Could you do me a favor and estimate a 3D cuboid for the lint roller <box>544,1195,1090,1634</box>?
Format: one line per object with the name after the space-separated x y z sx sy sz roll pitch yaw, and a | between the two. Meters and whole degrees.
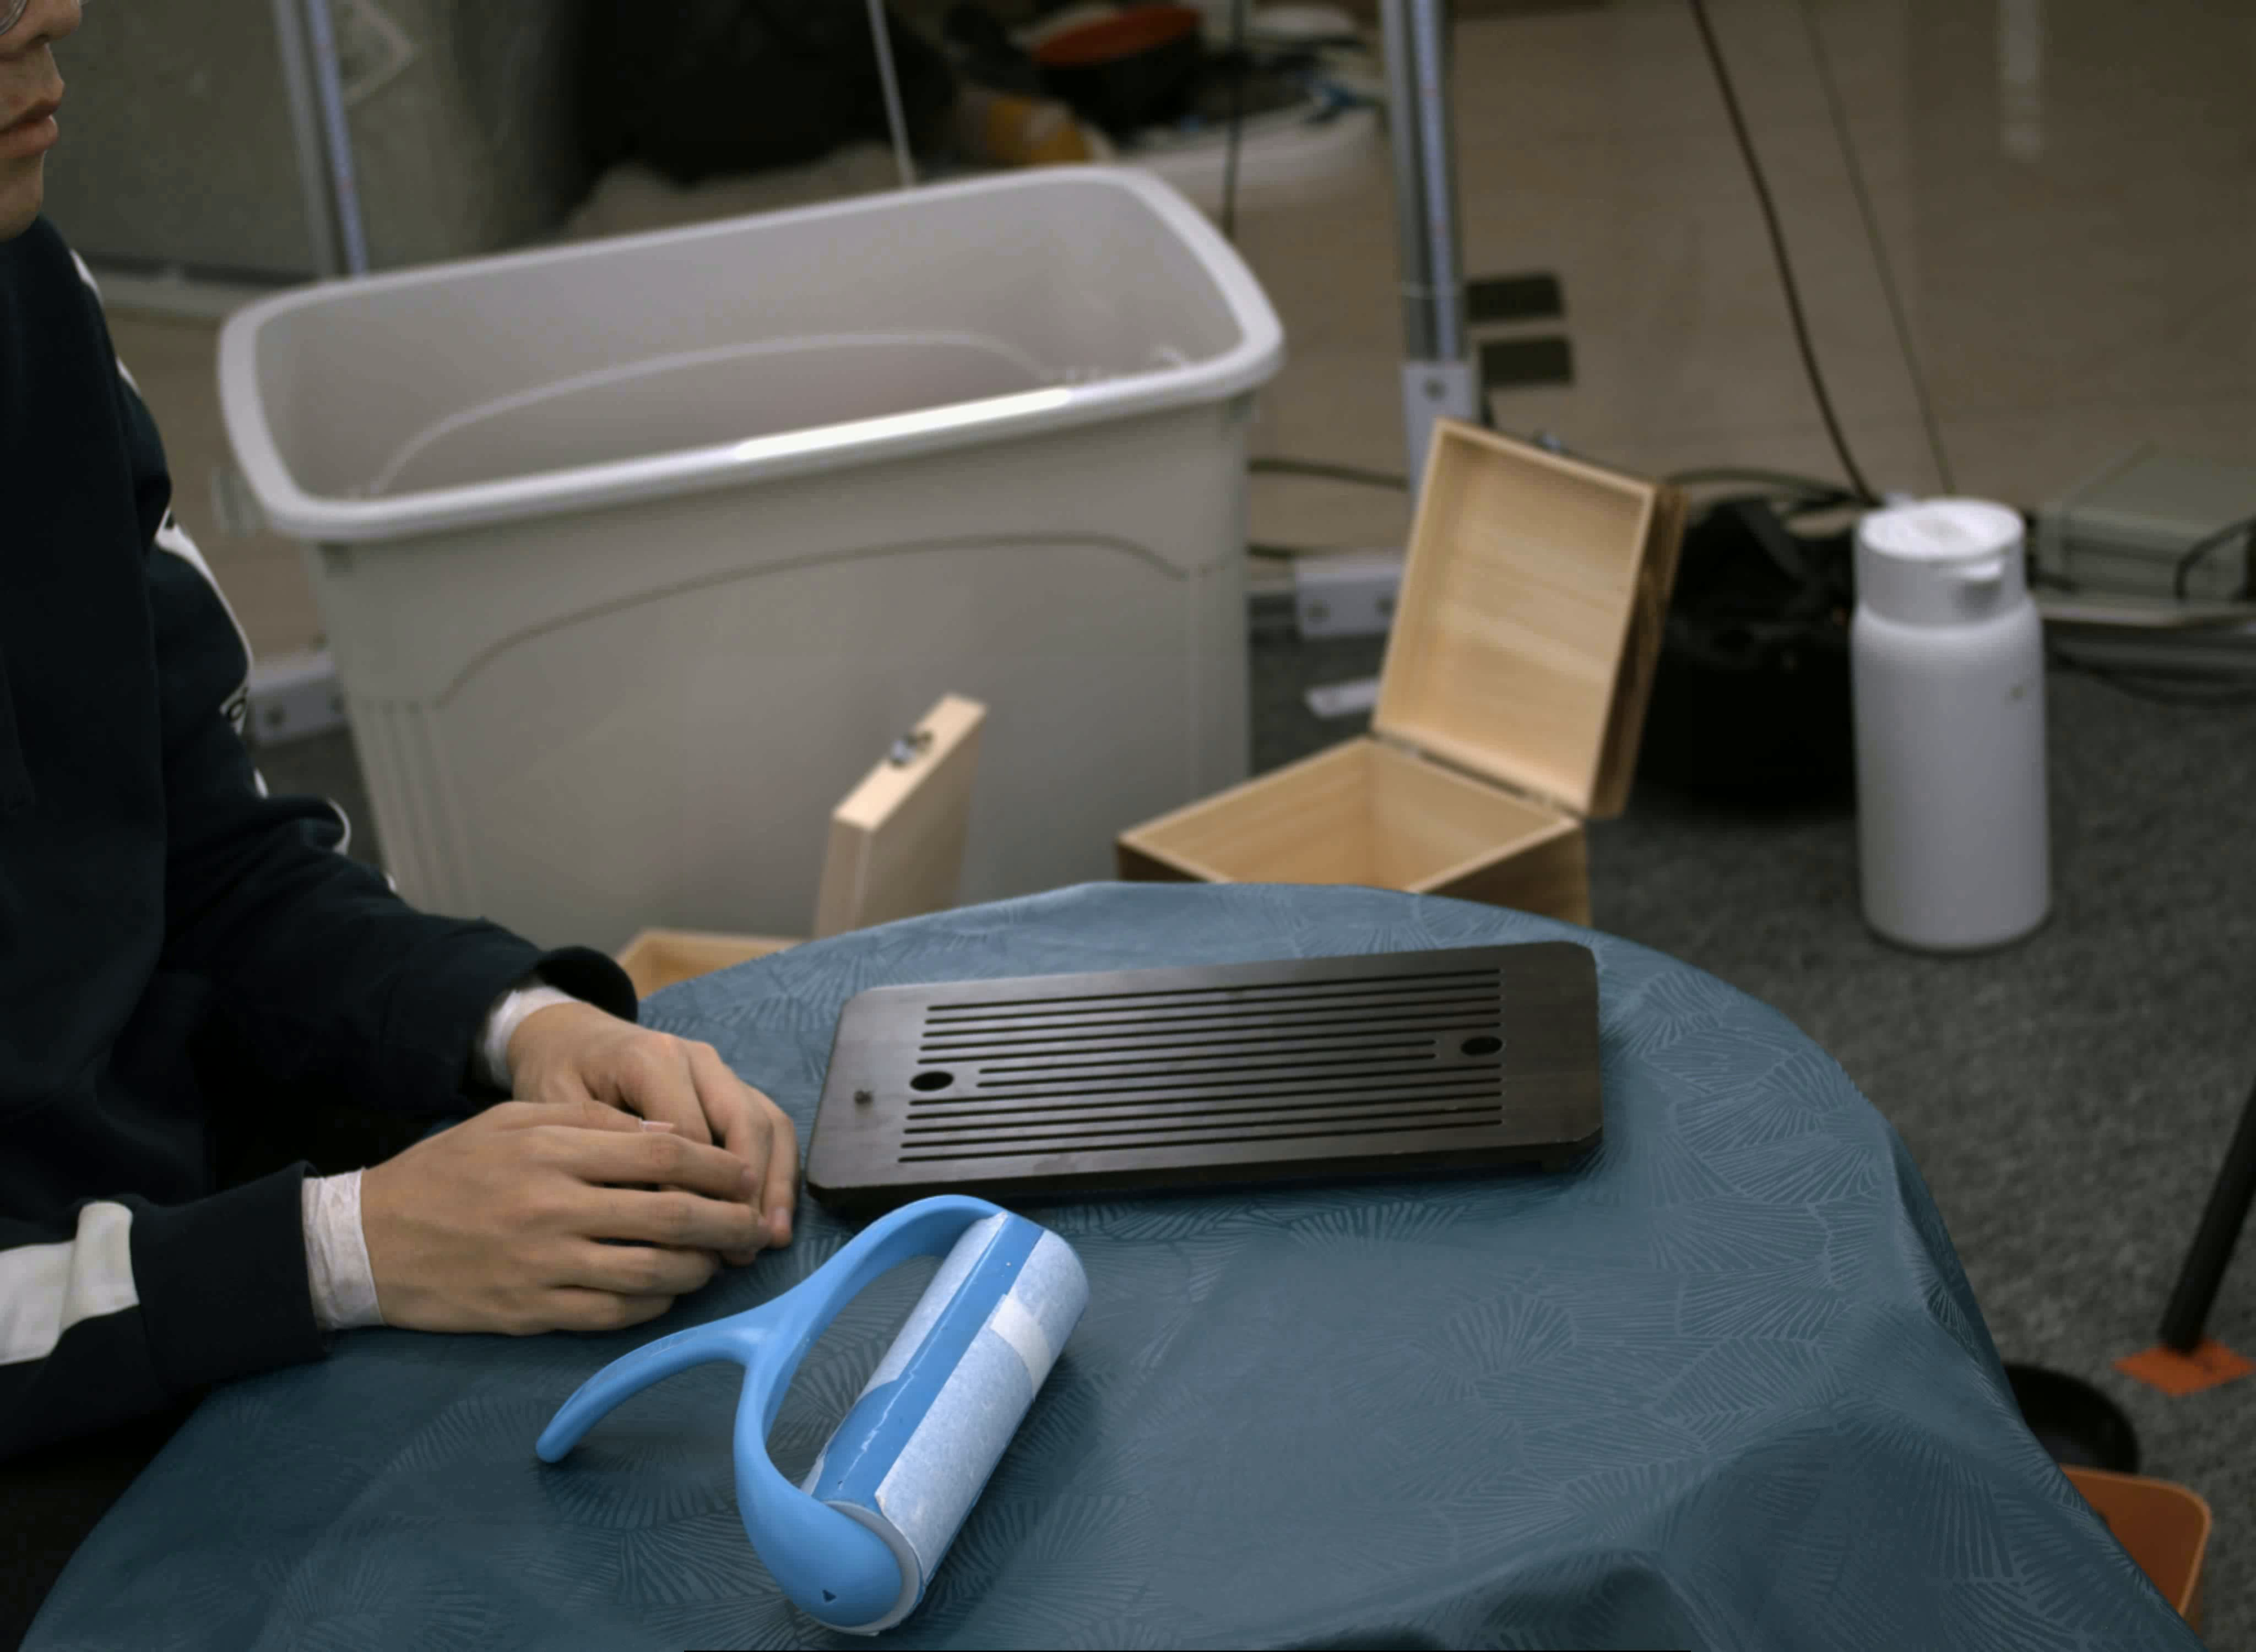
-0.123 0.201 1.973 0.180 0.069 0.225 2 28 14 | lint roller

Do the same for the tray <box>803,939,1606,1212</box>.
0.031 0.097 2.204 0.305 0.019 0.167 -4 25 5 | tray
